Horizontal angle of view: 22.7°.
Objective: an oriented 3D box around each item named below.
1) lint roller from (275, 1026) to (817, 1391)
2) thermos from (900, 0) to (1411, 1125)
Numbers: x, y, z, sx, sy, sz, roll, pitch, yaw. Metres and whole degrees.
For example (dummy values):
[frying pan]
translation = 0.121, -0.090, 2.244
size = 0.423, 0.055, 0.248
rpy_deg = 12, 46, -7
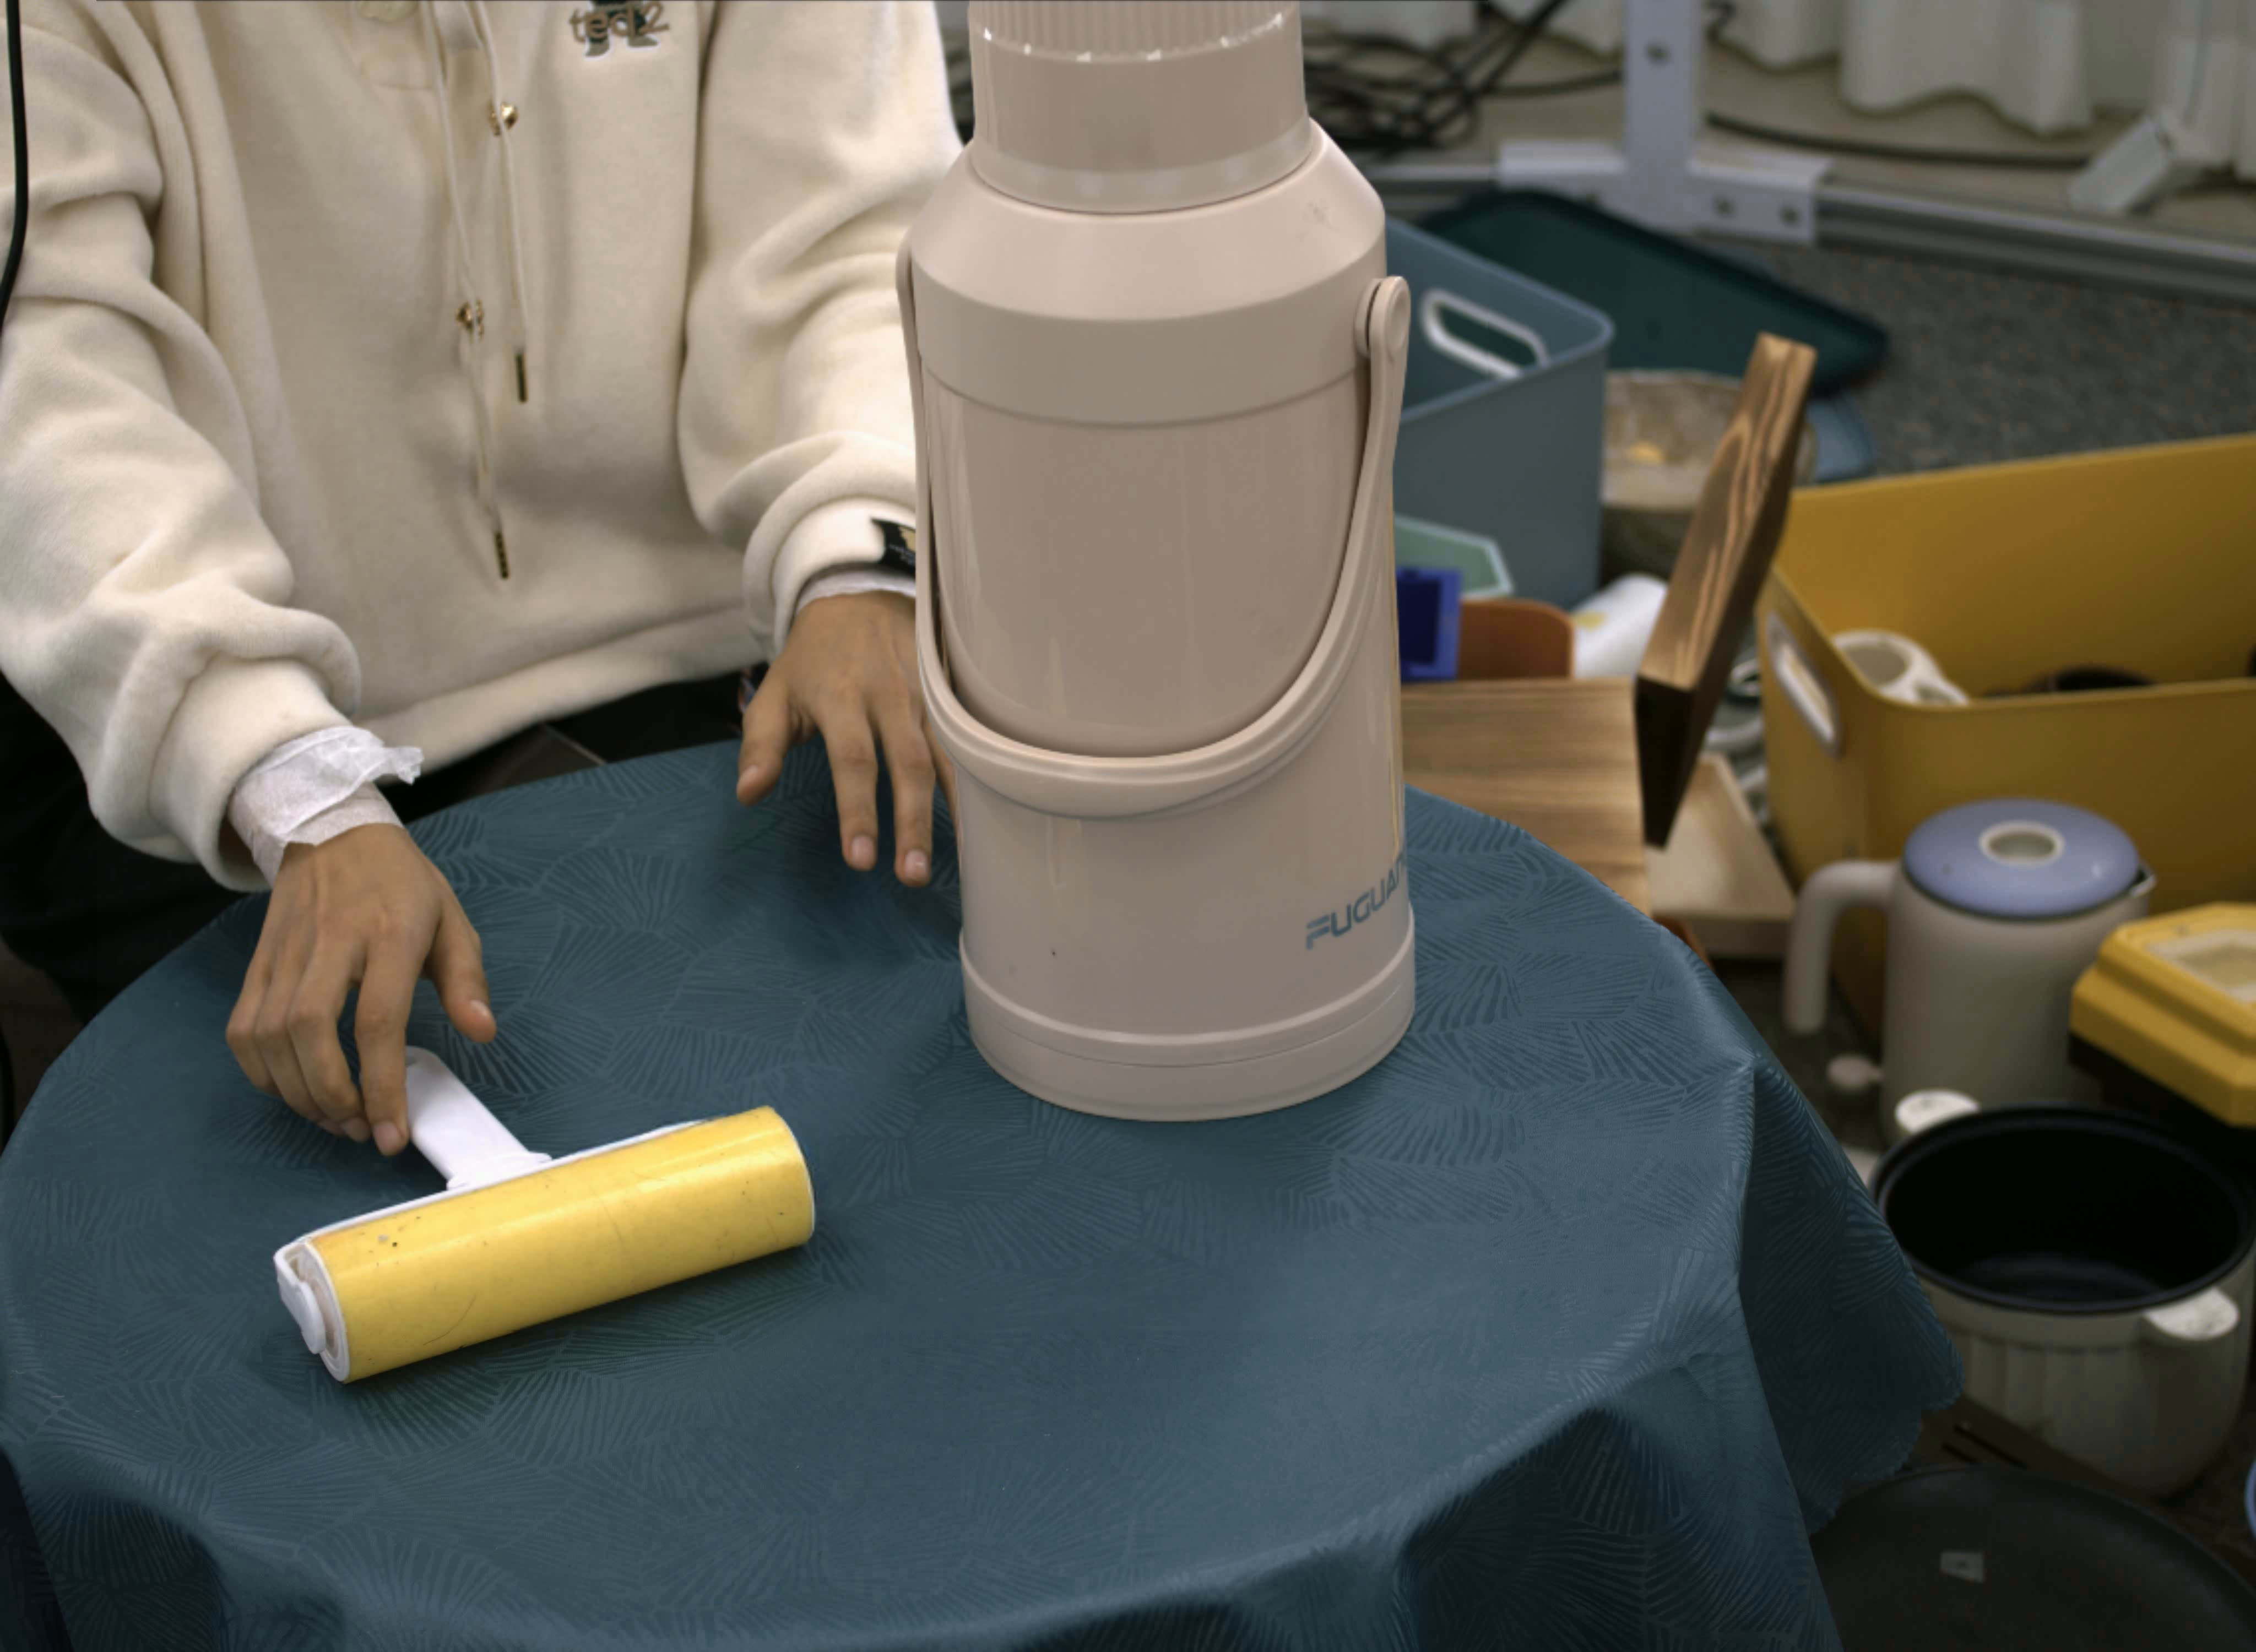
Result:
[lint roller]
translation = -0.216, 0.104, 1.858
size = 0.175, 0.051, 0.193
rpy_deg = -15, 36, -23
[thermos]
translation = 0.018, -0.116, 1.894
size = 0.174, 0.402, 0.210
rpy_deg = 7, 28, 22
